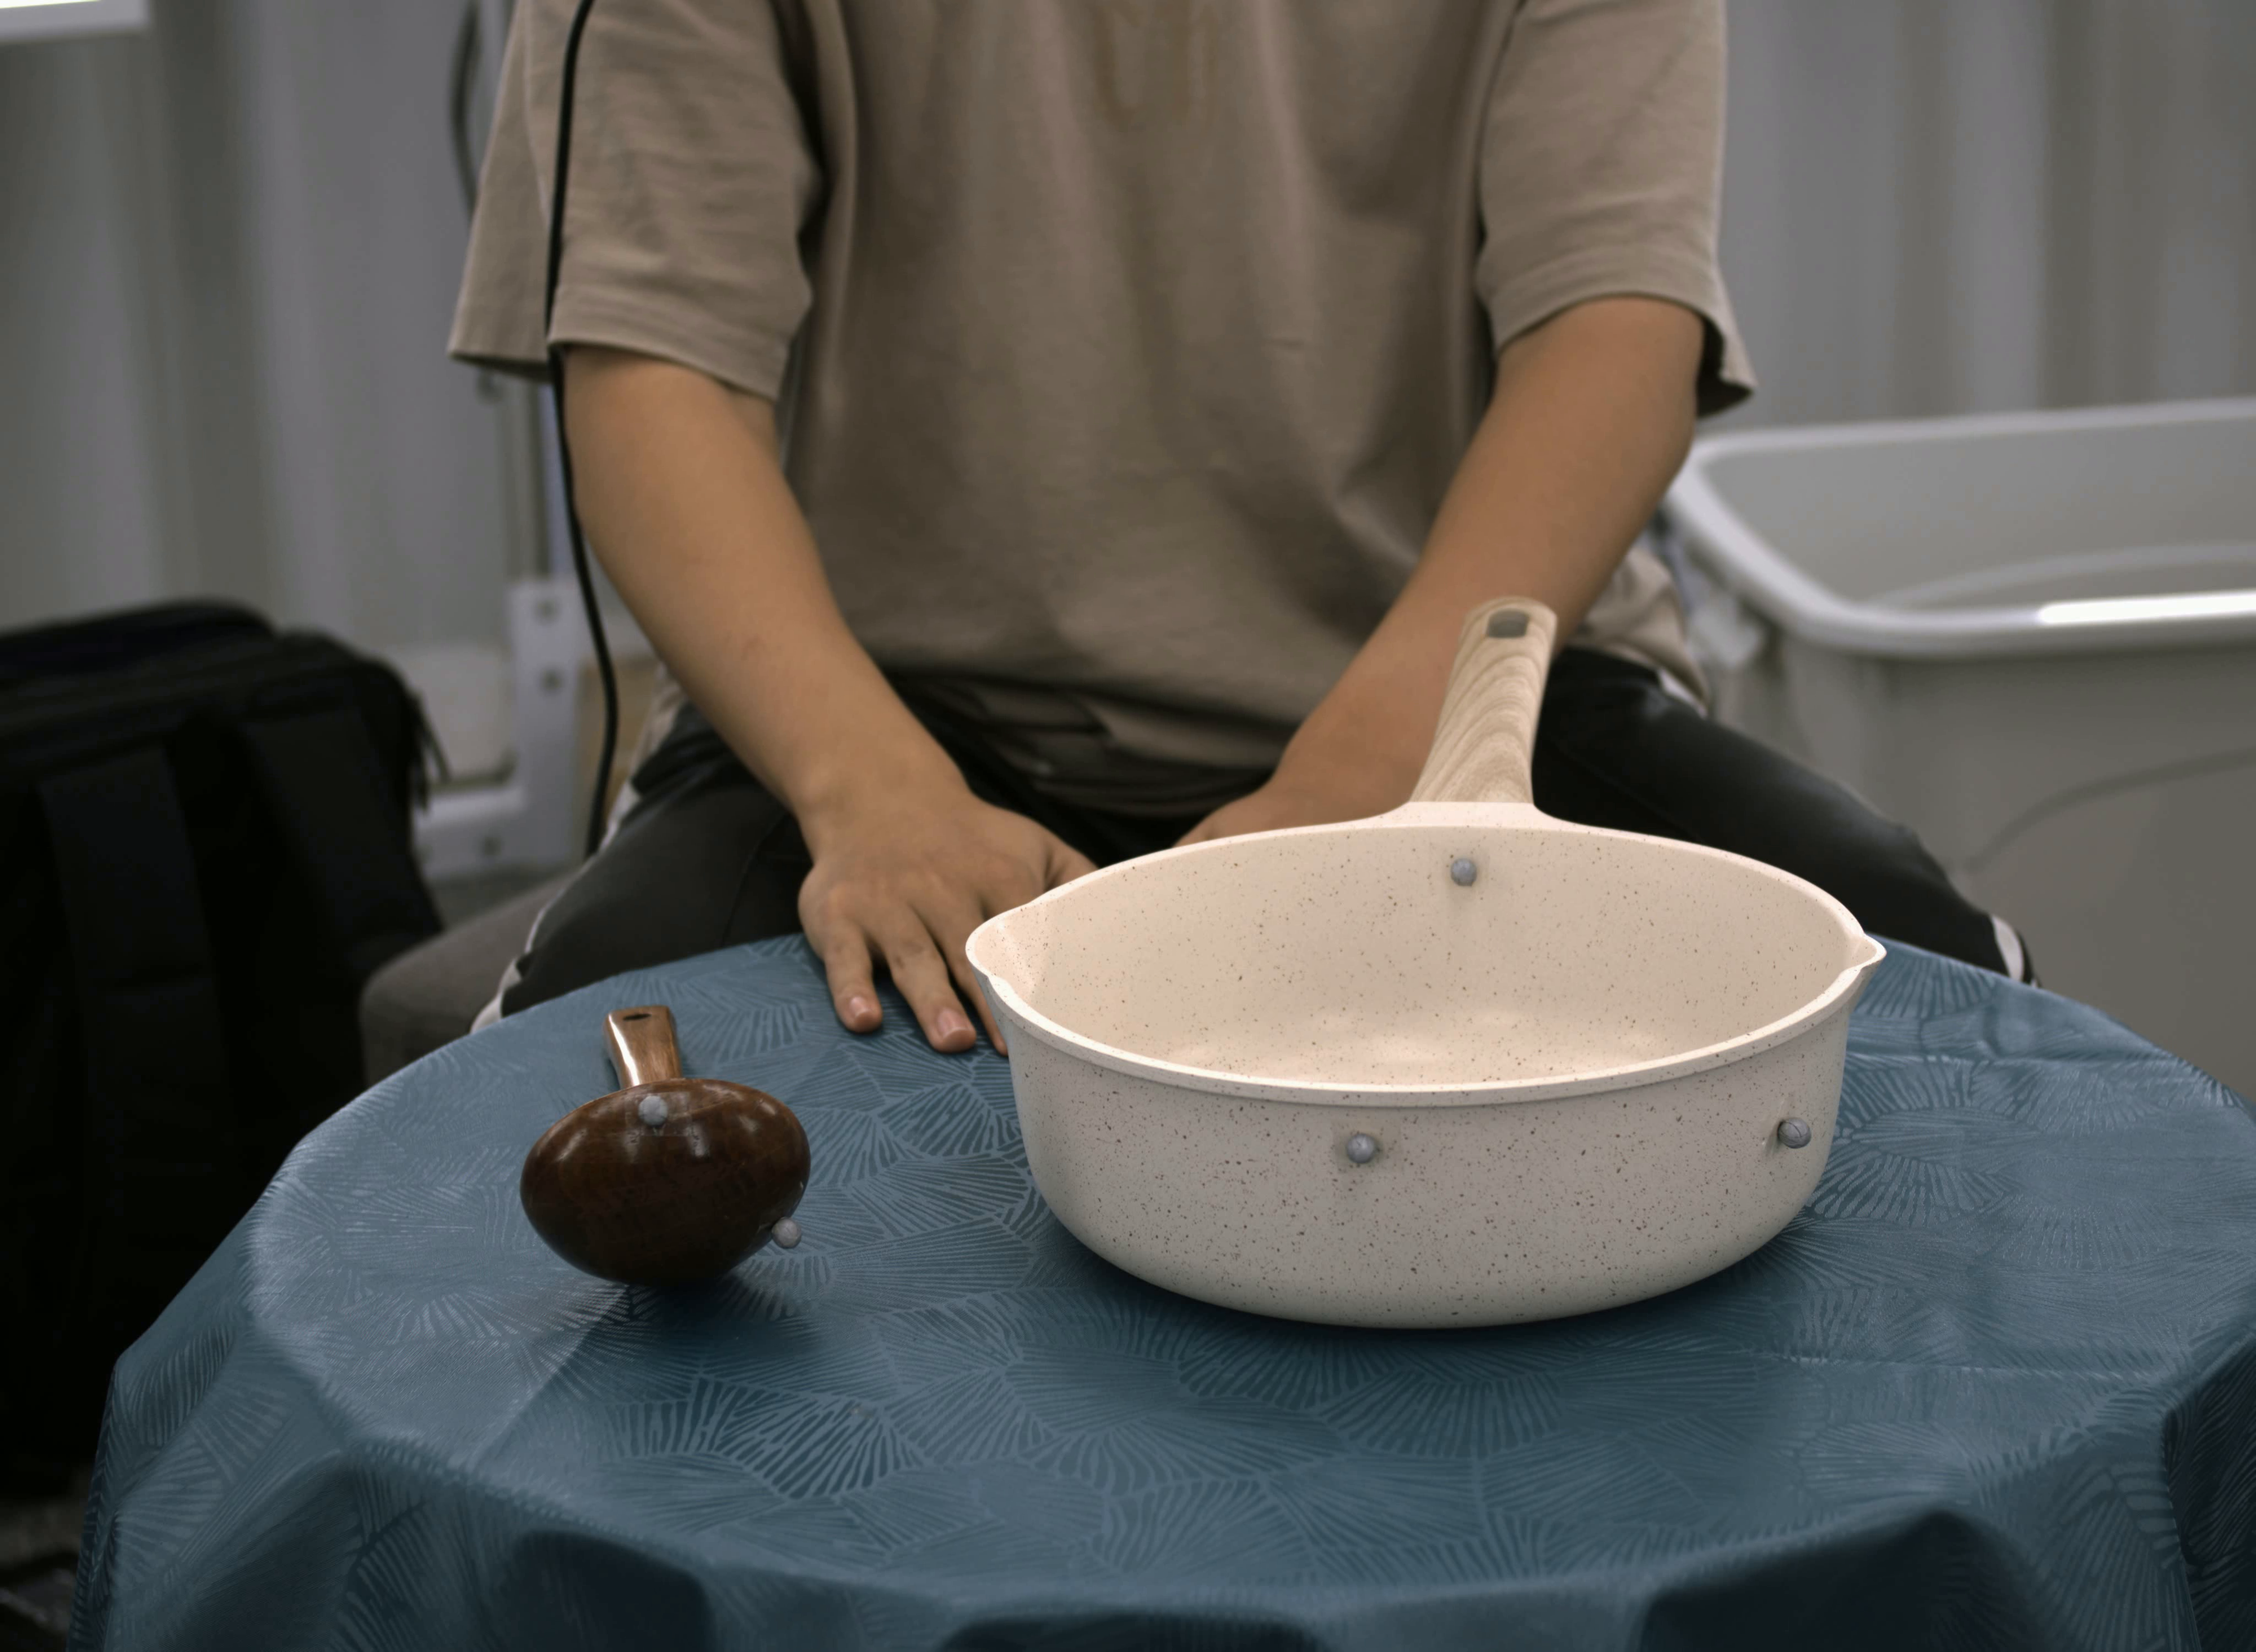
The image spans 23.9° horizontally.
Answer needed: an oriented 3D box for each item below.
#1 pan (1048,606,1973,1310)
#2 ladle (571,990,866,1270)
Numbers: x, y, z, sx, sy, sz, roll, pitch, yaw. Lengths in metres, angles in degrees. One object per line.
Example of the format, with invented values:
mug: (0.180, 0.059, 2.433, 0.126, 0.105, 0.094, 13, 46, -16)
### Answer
pan: (0.122, 0.035, 1.600, 0.264, 0.102, 0.433, -1, 16, 9)
ladle: (-0.123, 0.065, 1.568, 0.081, 0.076, 0.276, -4, 17, -4)
